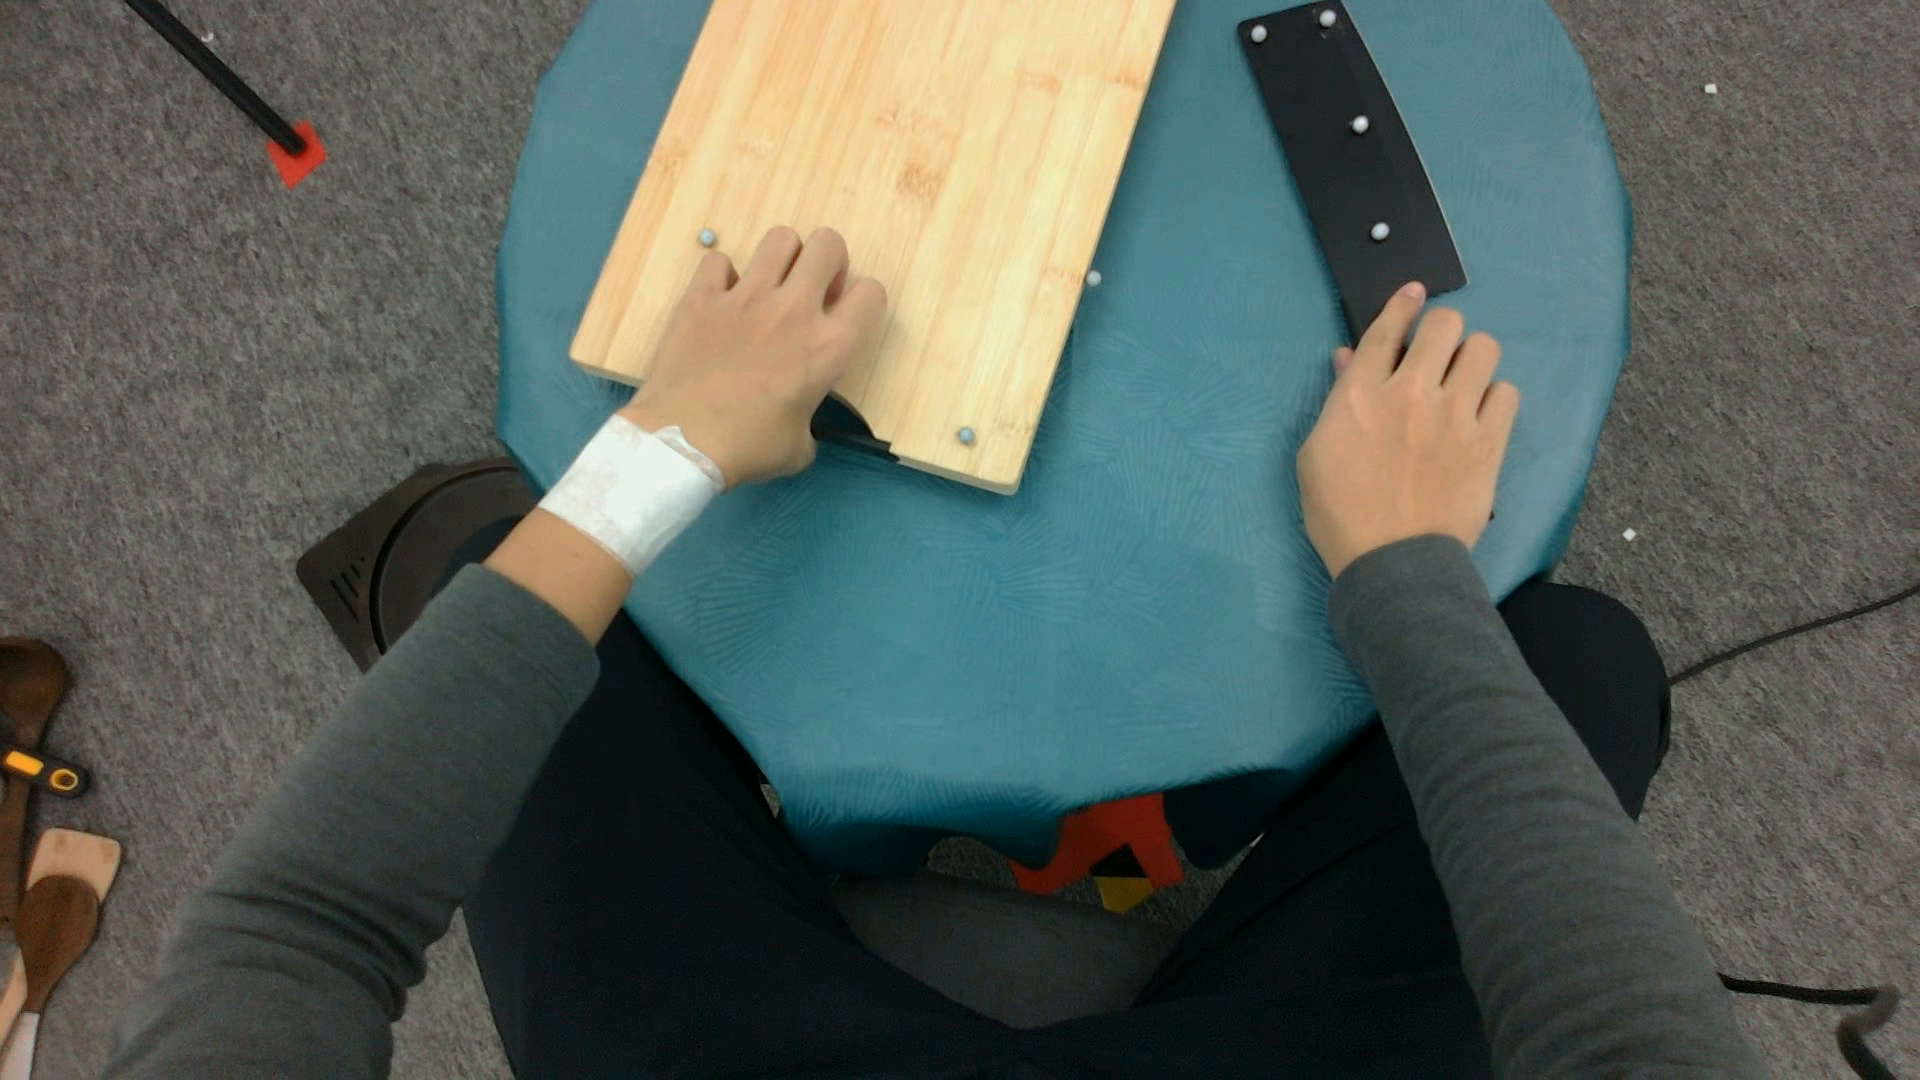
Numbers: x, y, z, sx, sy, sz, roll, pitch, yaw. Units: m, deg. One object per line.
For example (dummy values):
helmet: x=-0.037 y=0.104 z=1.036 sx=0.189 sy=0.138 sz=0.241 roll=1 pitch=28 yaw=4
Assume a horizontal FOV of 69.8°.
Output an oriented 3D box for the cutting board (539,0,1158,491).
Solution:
cutting board: x=-0.045 y=-0.218 z=0.733 sx=0.250 sy=0.023 sz=0.349 roll=16 pitch=77 yaw=6

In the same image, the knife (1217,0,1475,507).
knife: x=0.210 y=-0.159 z=0.719 sx=0.081 sy=0.021 sz=0.303 roll=-12 pitch=77 yaw=-3
